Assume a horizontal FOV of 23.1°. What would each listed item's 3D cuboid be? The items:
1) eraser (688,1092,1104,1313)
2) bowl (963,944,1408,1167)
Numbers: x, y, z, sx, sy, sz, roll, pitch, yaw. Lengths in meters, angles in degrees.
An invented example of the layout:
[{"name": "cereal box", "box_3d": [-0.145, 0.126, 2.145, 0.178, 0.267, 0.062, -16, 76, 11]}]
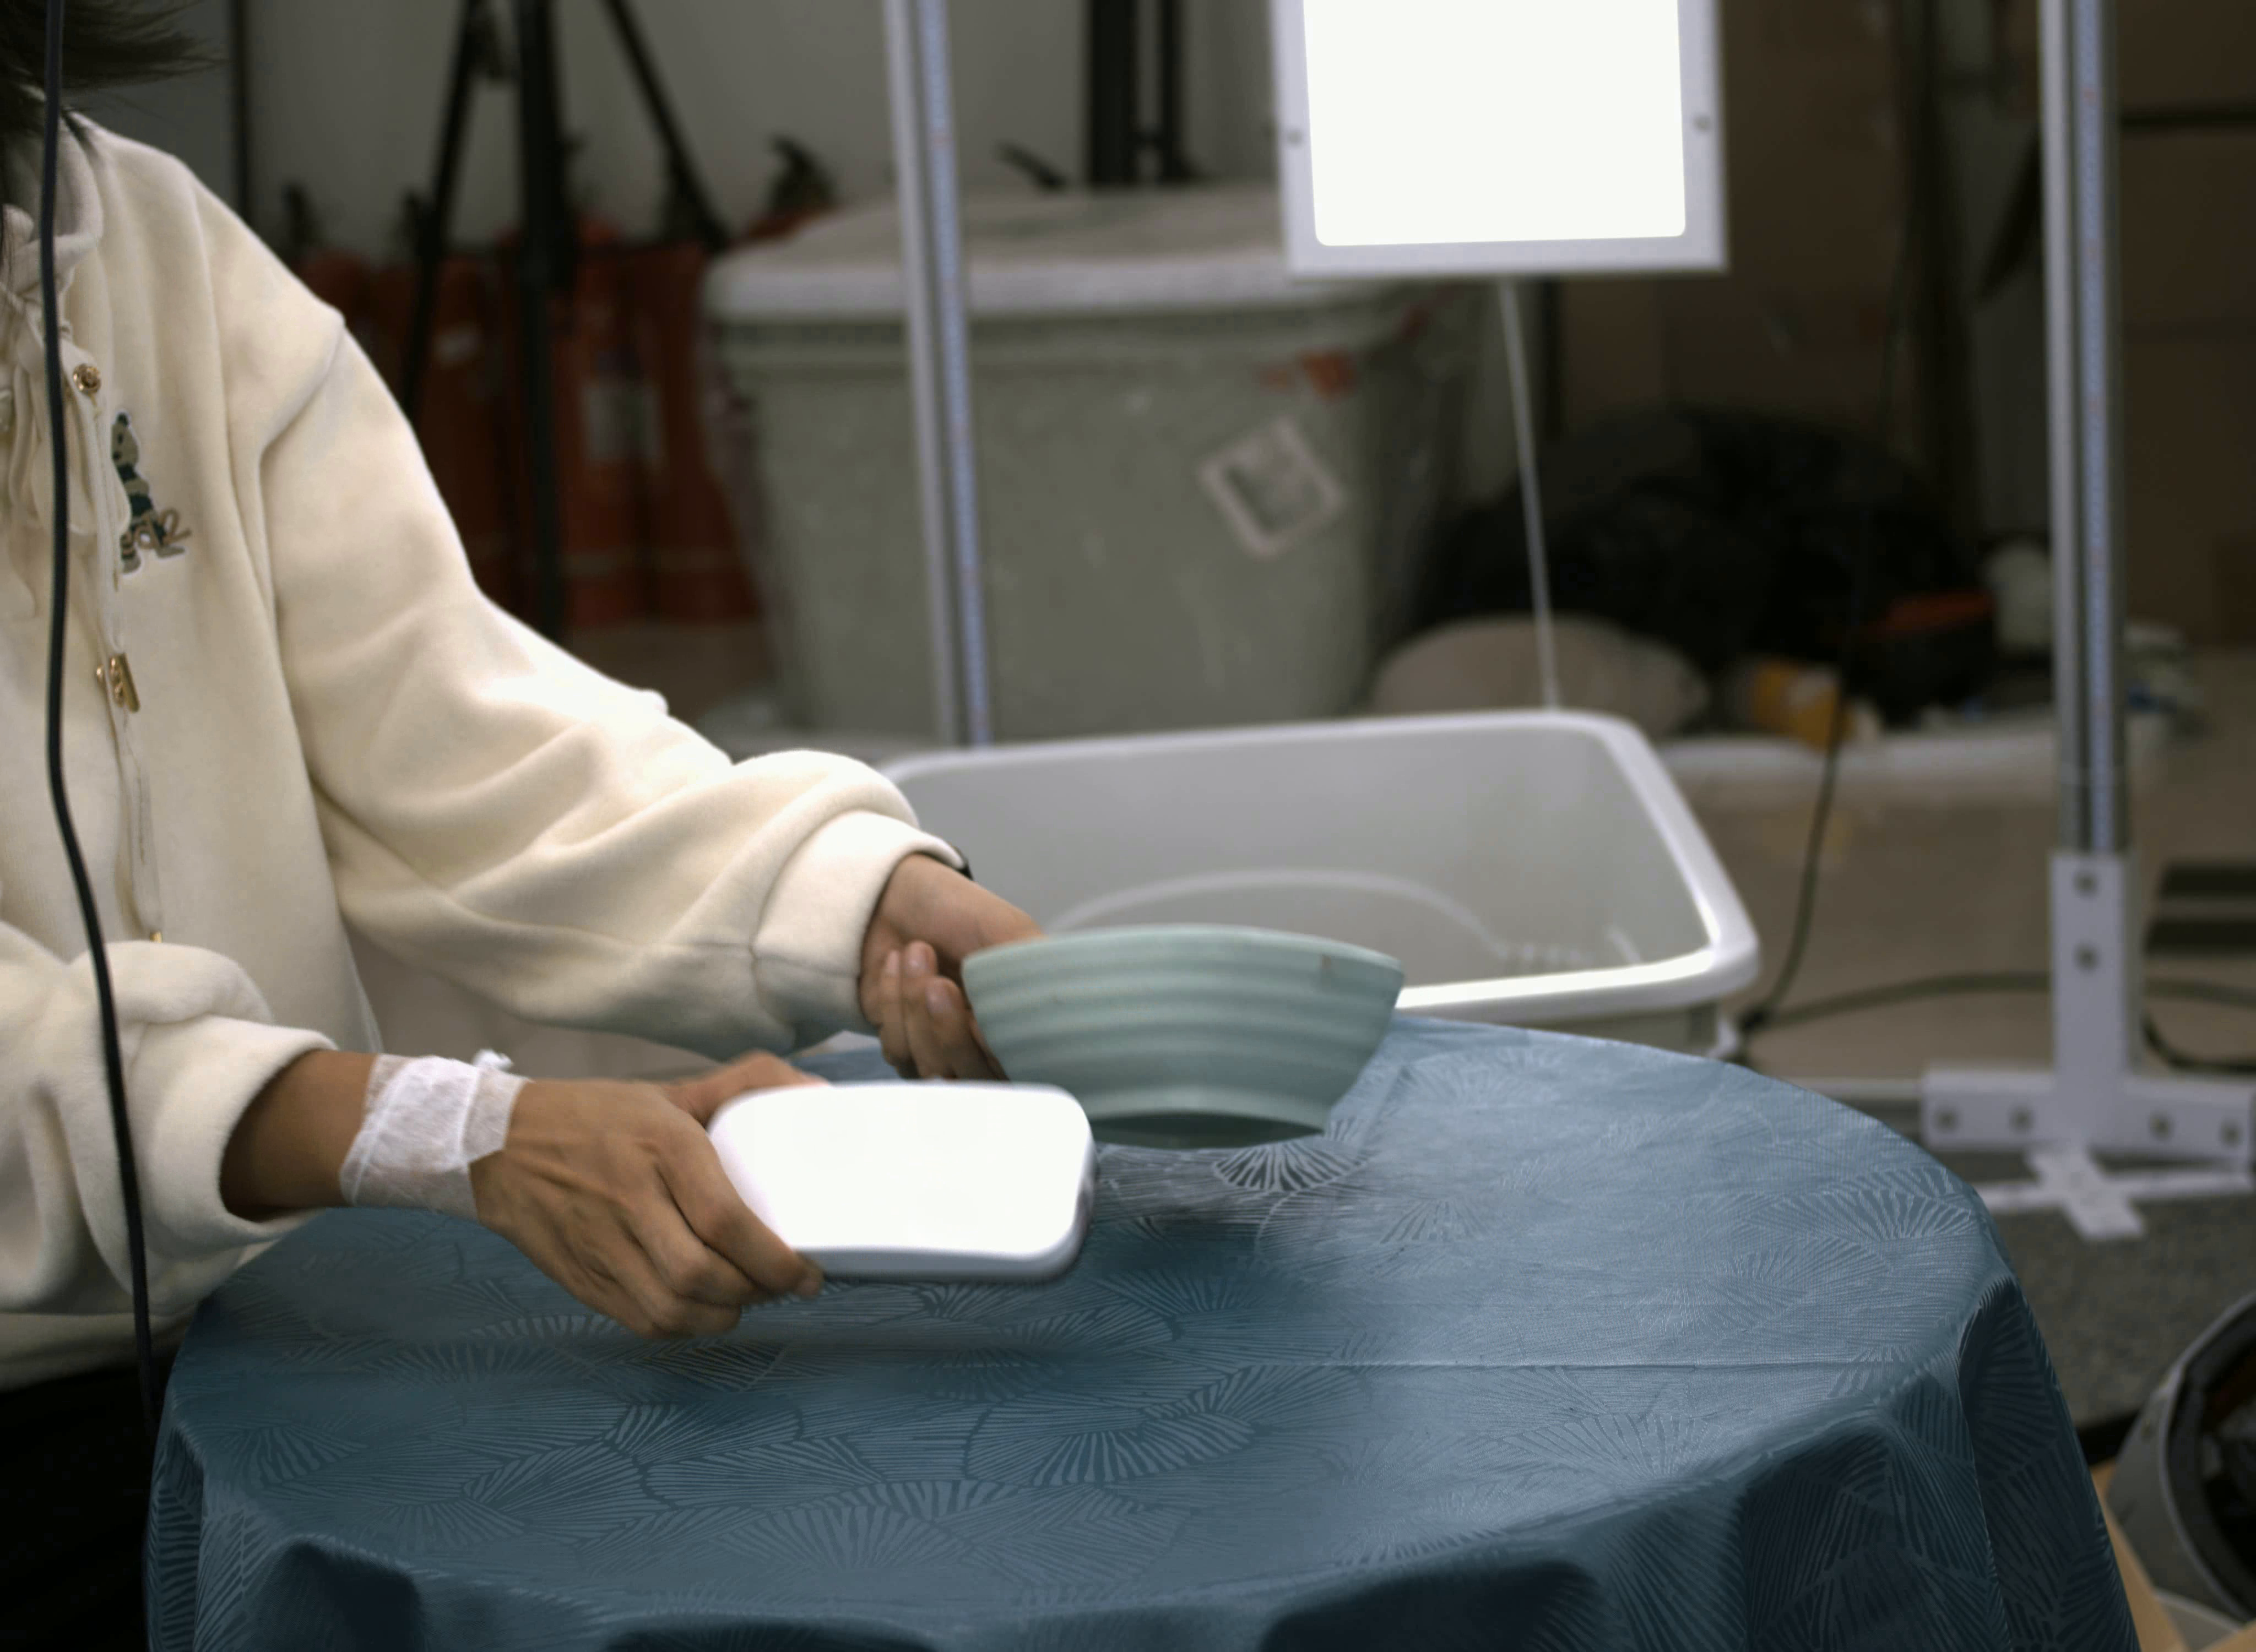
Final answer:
[{"name": "eraser", "box_3d": [-0.073, 0.120, 1.750, 0.133, 0.034, 0.063, 1, 52, 20]}, {"name": "bowl", "box_3d": [0.020, 0.080, 1.860, 0.151, 0.059, 0.152, 0, -11, -1]}]
